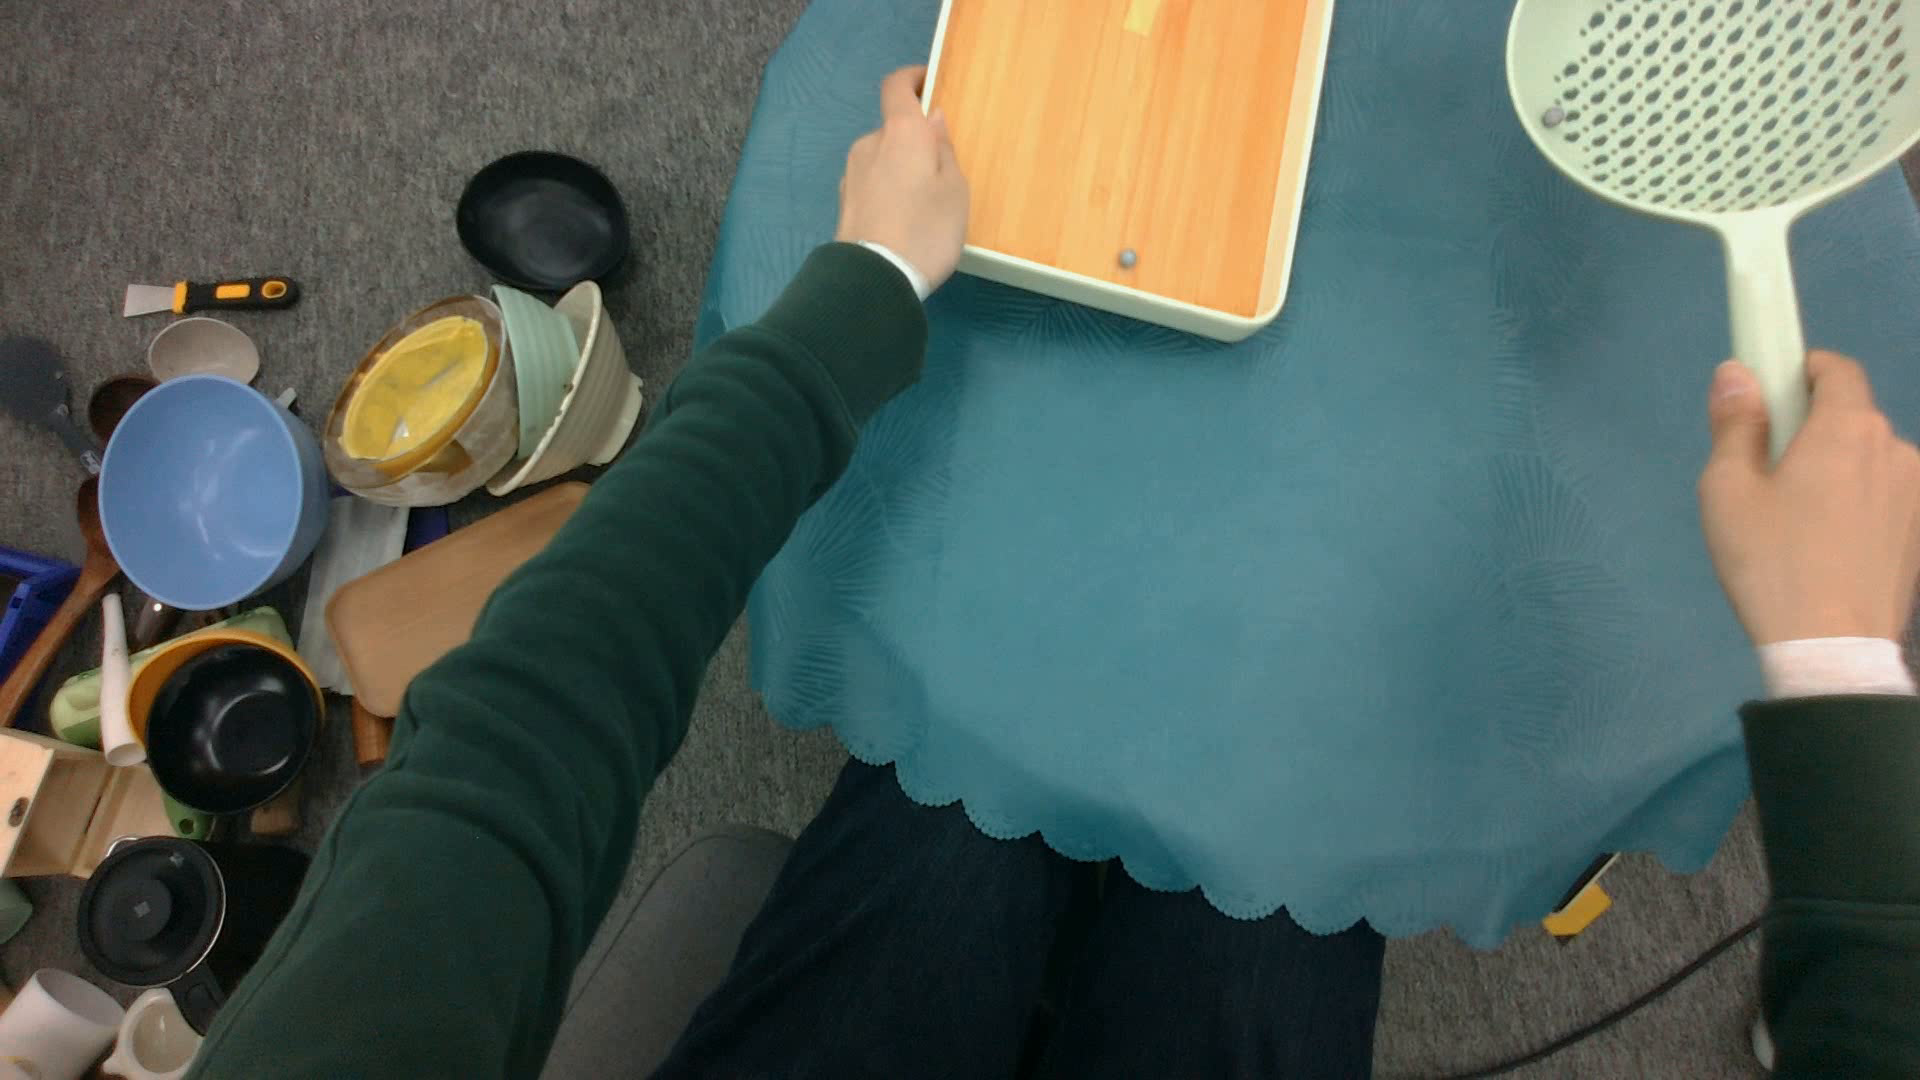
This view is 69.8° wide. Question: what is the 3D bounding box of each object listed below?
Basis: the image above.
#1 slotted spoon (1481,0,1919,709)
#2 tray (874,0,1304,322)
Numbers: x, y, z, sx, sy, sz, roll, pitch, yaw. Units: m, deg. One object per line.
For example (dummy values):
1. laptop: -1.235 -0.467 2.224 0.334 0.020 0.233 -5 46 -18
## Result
1. slotted spoon: 0.301 -0.118 0.537 0.169 0.075 0.360 -5 65 26
2. tray: 0.075 -0.267 0.684 0.192 0.027 0.301 13 76 -10
